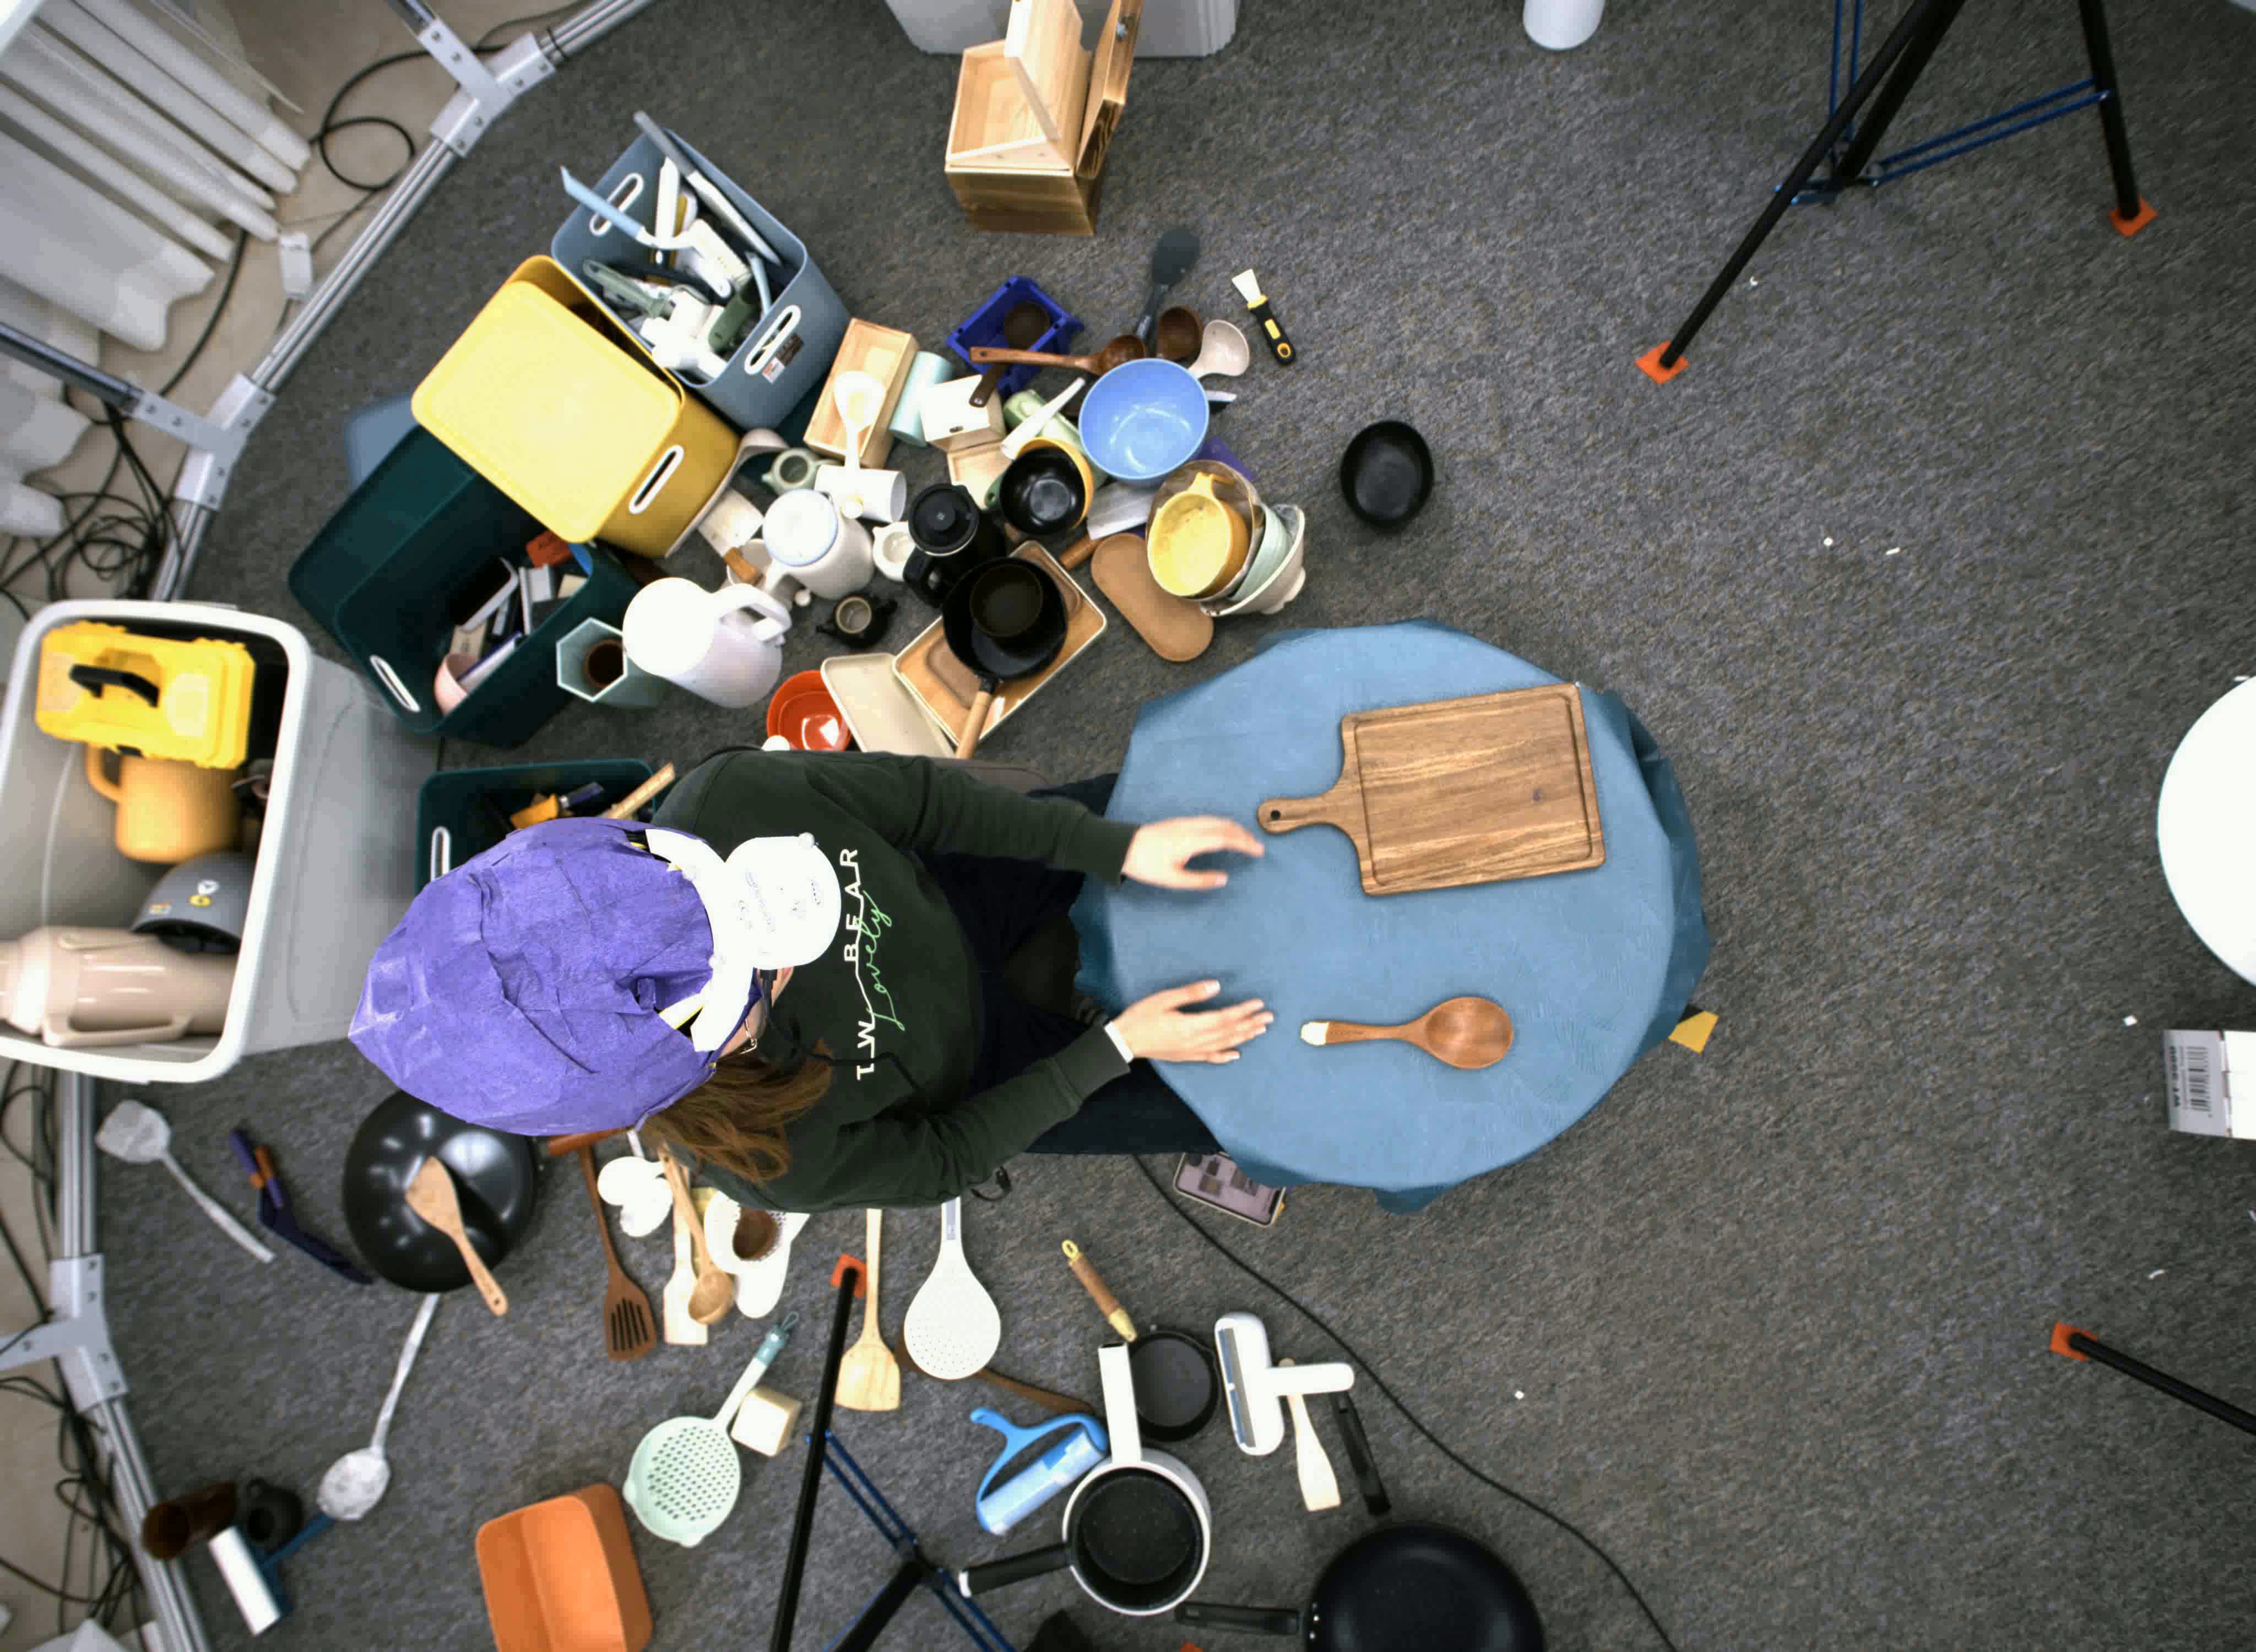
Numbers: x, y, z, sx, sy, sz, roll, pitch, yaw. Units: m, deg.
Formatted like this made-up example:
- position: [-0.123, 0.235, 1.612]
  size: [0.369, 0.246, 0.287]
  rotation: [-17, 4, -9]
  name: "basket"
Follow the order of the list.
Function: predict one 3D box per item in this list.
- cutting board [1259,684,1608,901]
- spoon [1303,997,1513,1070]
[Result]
- position: [0.313, -0.030, 1.455]
  size: [0.354, 0.023, 0.200]
  rotation: [-8, 85, 10]
  name: "cutting board"
- position: [0.291, 0.215, 1.442]
  size: [0.217, 0.017, 0.075]
  rotation: [-2, 87, 10]
  name: "spoon"
